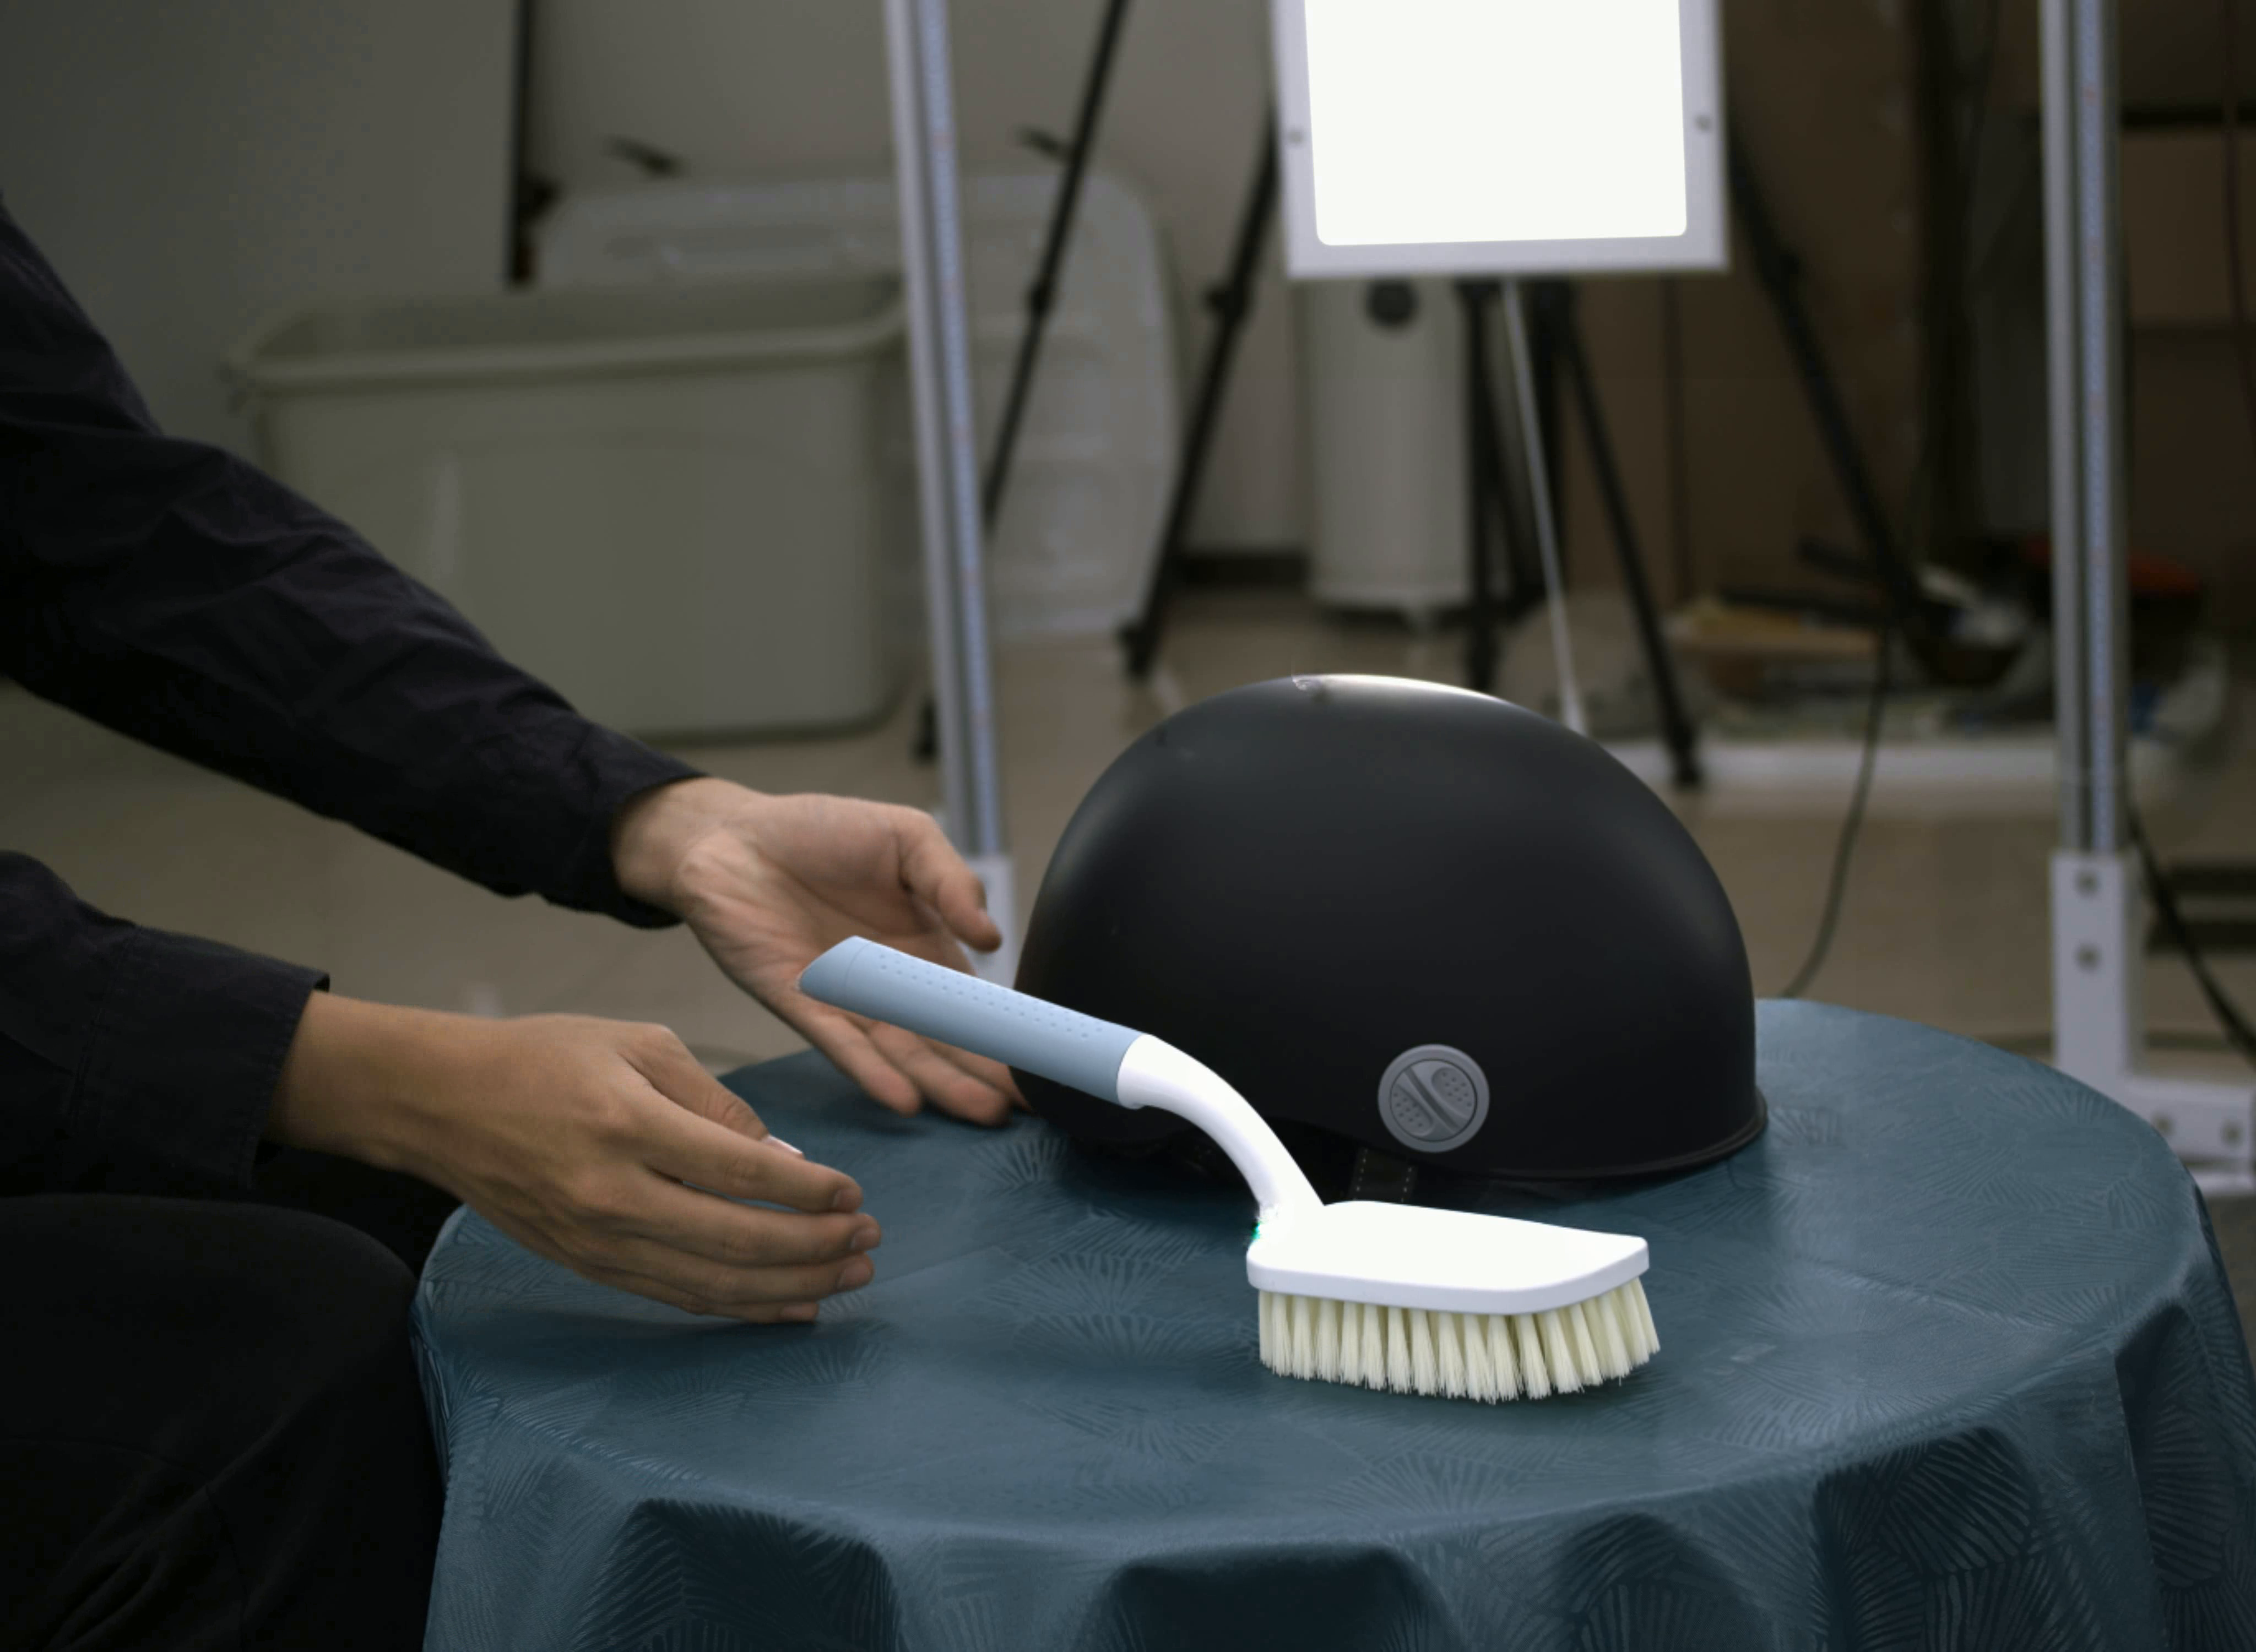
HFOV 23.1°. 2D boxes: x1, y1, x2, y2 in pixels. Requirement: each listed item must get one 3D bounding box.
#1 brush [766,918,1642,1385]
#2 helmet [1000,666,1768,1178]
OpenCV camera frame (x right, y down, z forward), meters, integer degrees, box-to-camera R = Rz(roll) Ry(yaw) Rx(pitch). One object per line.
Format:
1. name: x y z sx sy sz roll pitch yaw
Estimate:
1. brush: 0.018 0.116 1.752 0.331 0.084 0.082 18 -13 30
2. helmet: 0.089 0.029 1.929 0.276 0.167 0.226 2 16 18
